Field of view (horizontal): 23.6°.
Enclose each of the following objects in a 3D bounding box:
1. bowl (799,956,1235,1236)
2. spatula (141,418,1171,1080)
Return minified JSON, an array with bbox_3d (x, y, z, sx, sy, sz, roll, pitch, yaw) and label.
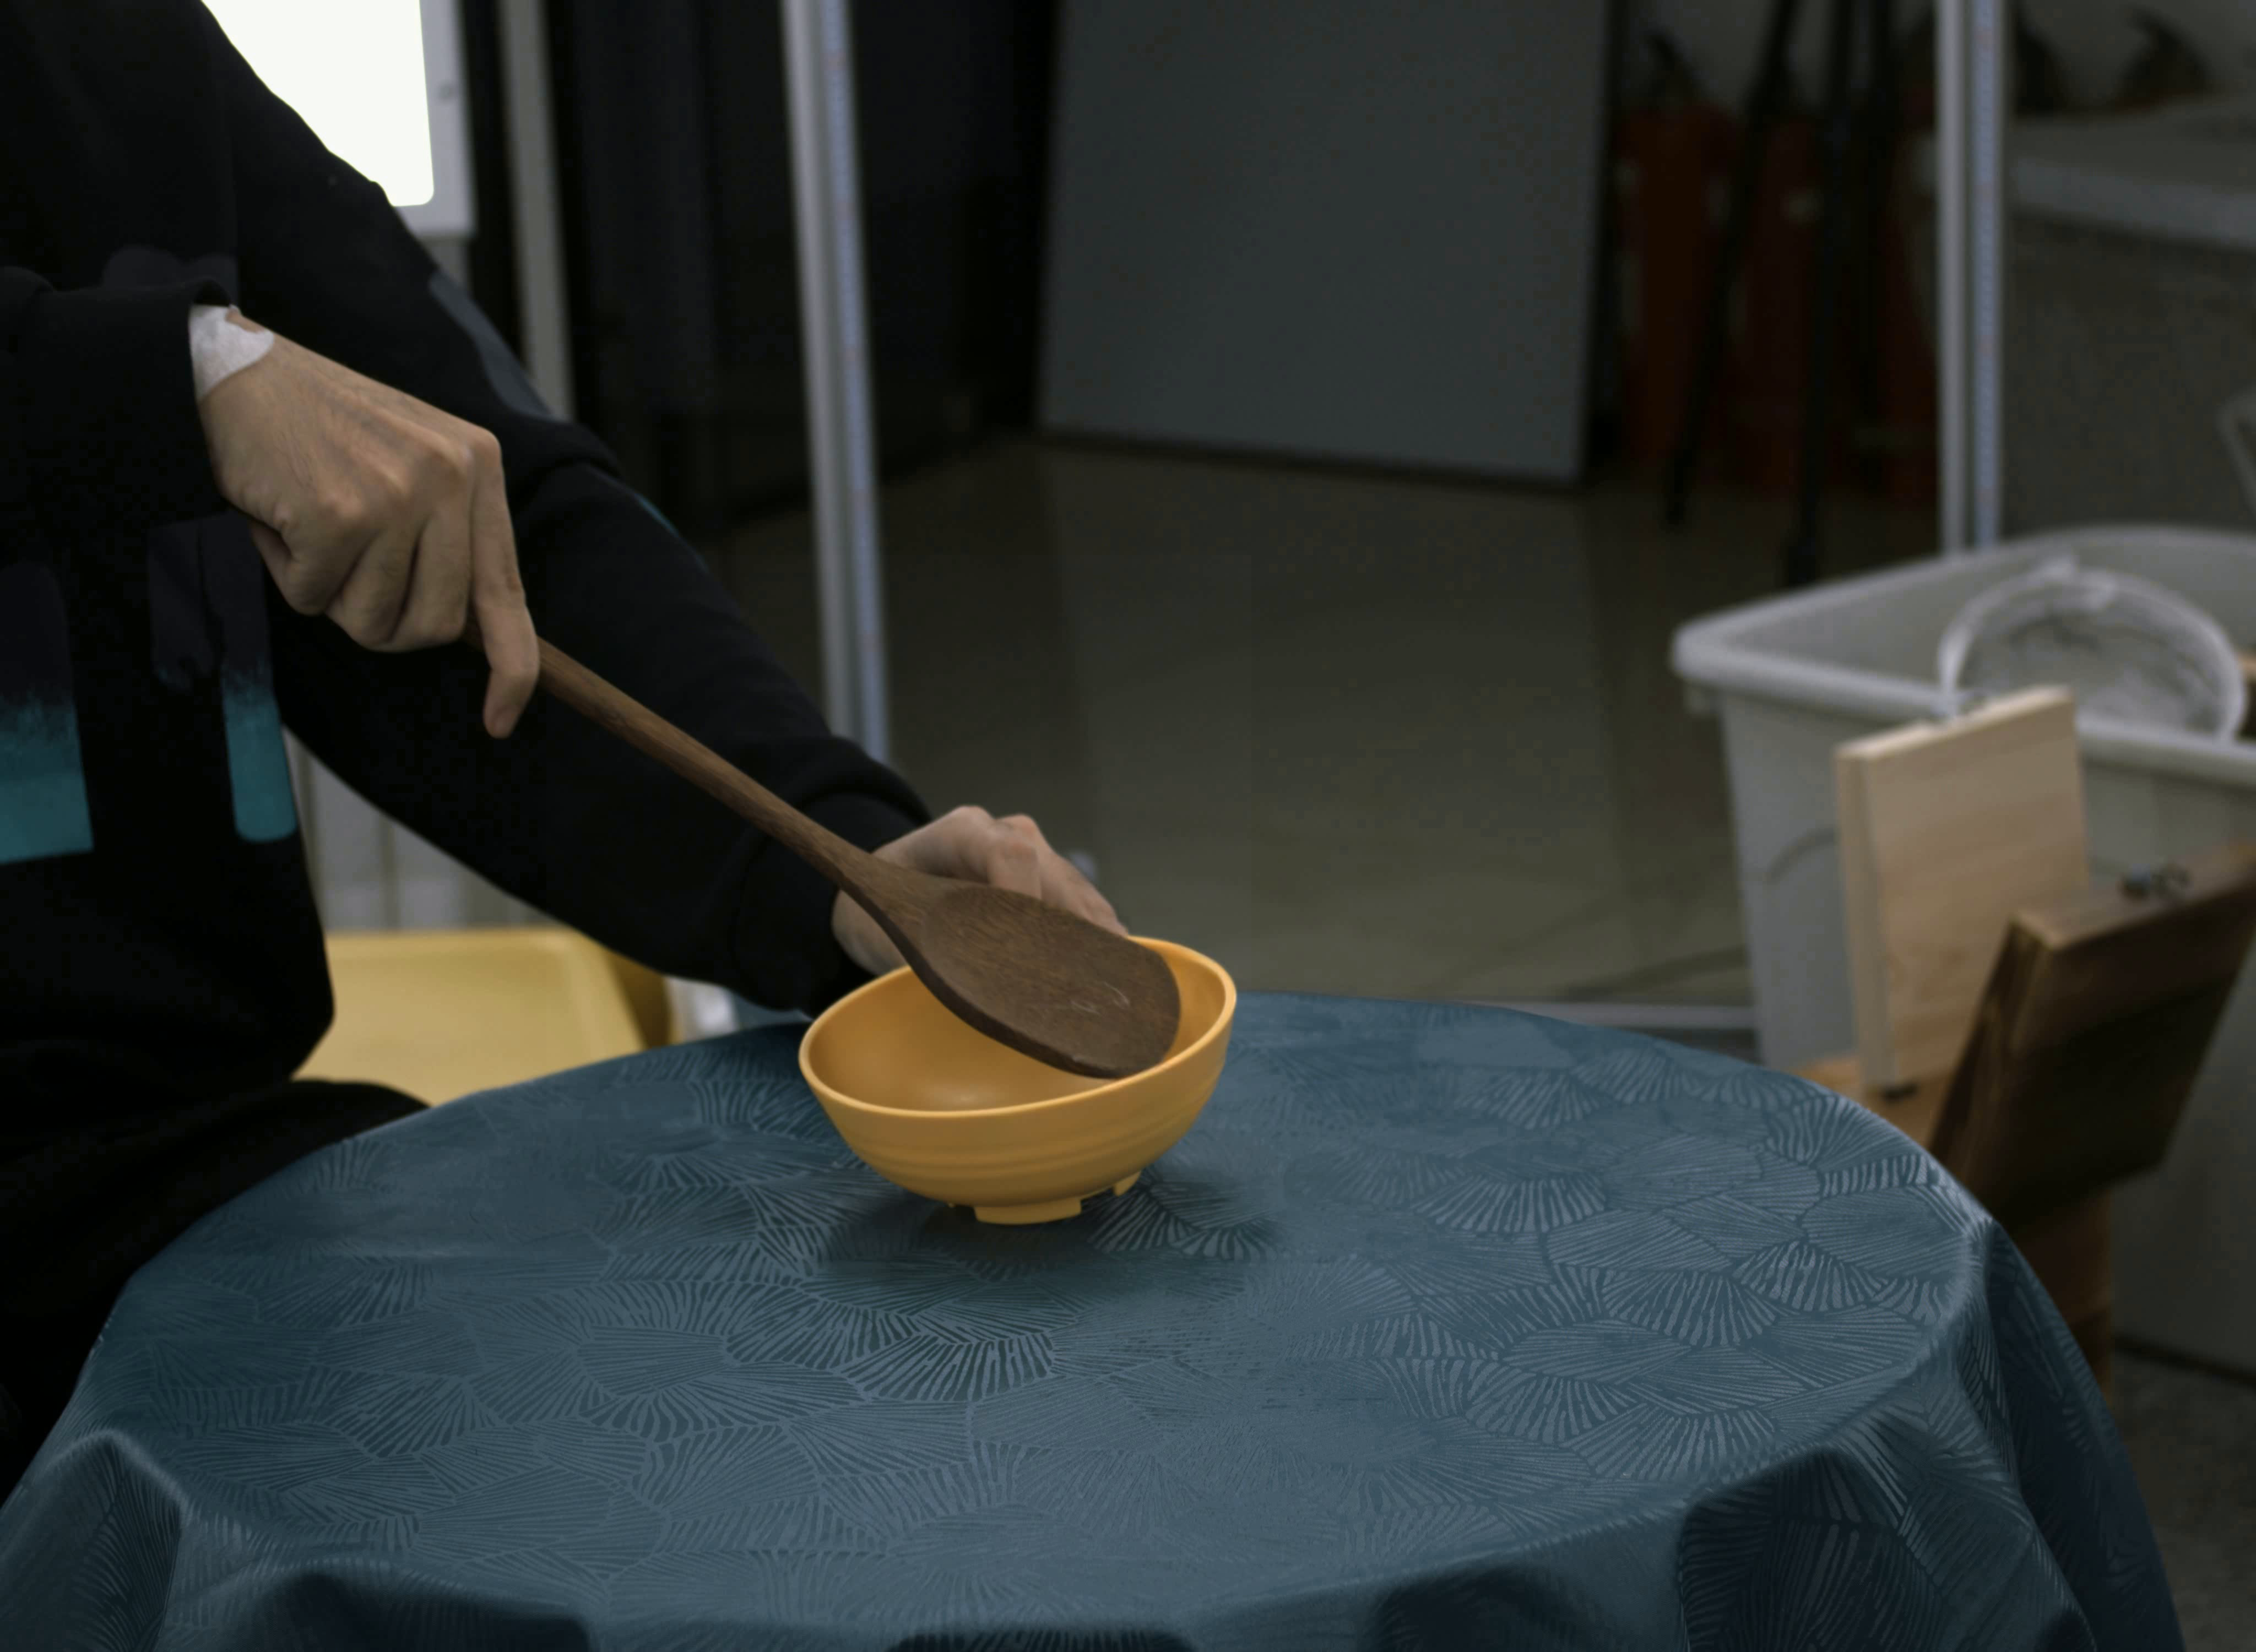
[{"bbox_3d":[-0.033,0.094,1.758,0.143,0.060,0.145,-8,17,2],"label":"bowl"},{"bbox_3d":[-0.151,-0.029,1.741,0.384,0.016,0.095,32,26,1],"label":"spatula"}]
